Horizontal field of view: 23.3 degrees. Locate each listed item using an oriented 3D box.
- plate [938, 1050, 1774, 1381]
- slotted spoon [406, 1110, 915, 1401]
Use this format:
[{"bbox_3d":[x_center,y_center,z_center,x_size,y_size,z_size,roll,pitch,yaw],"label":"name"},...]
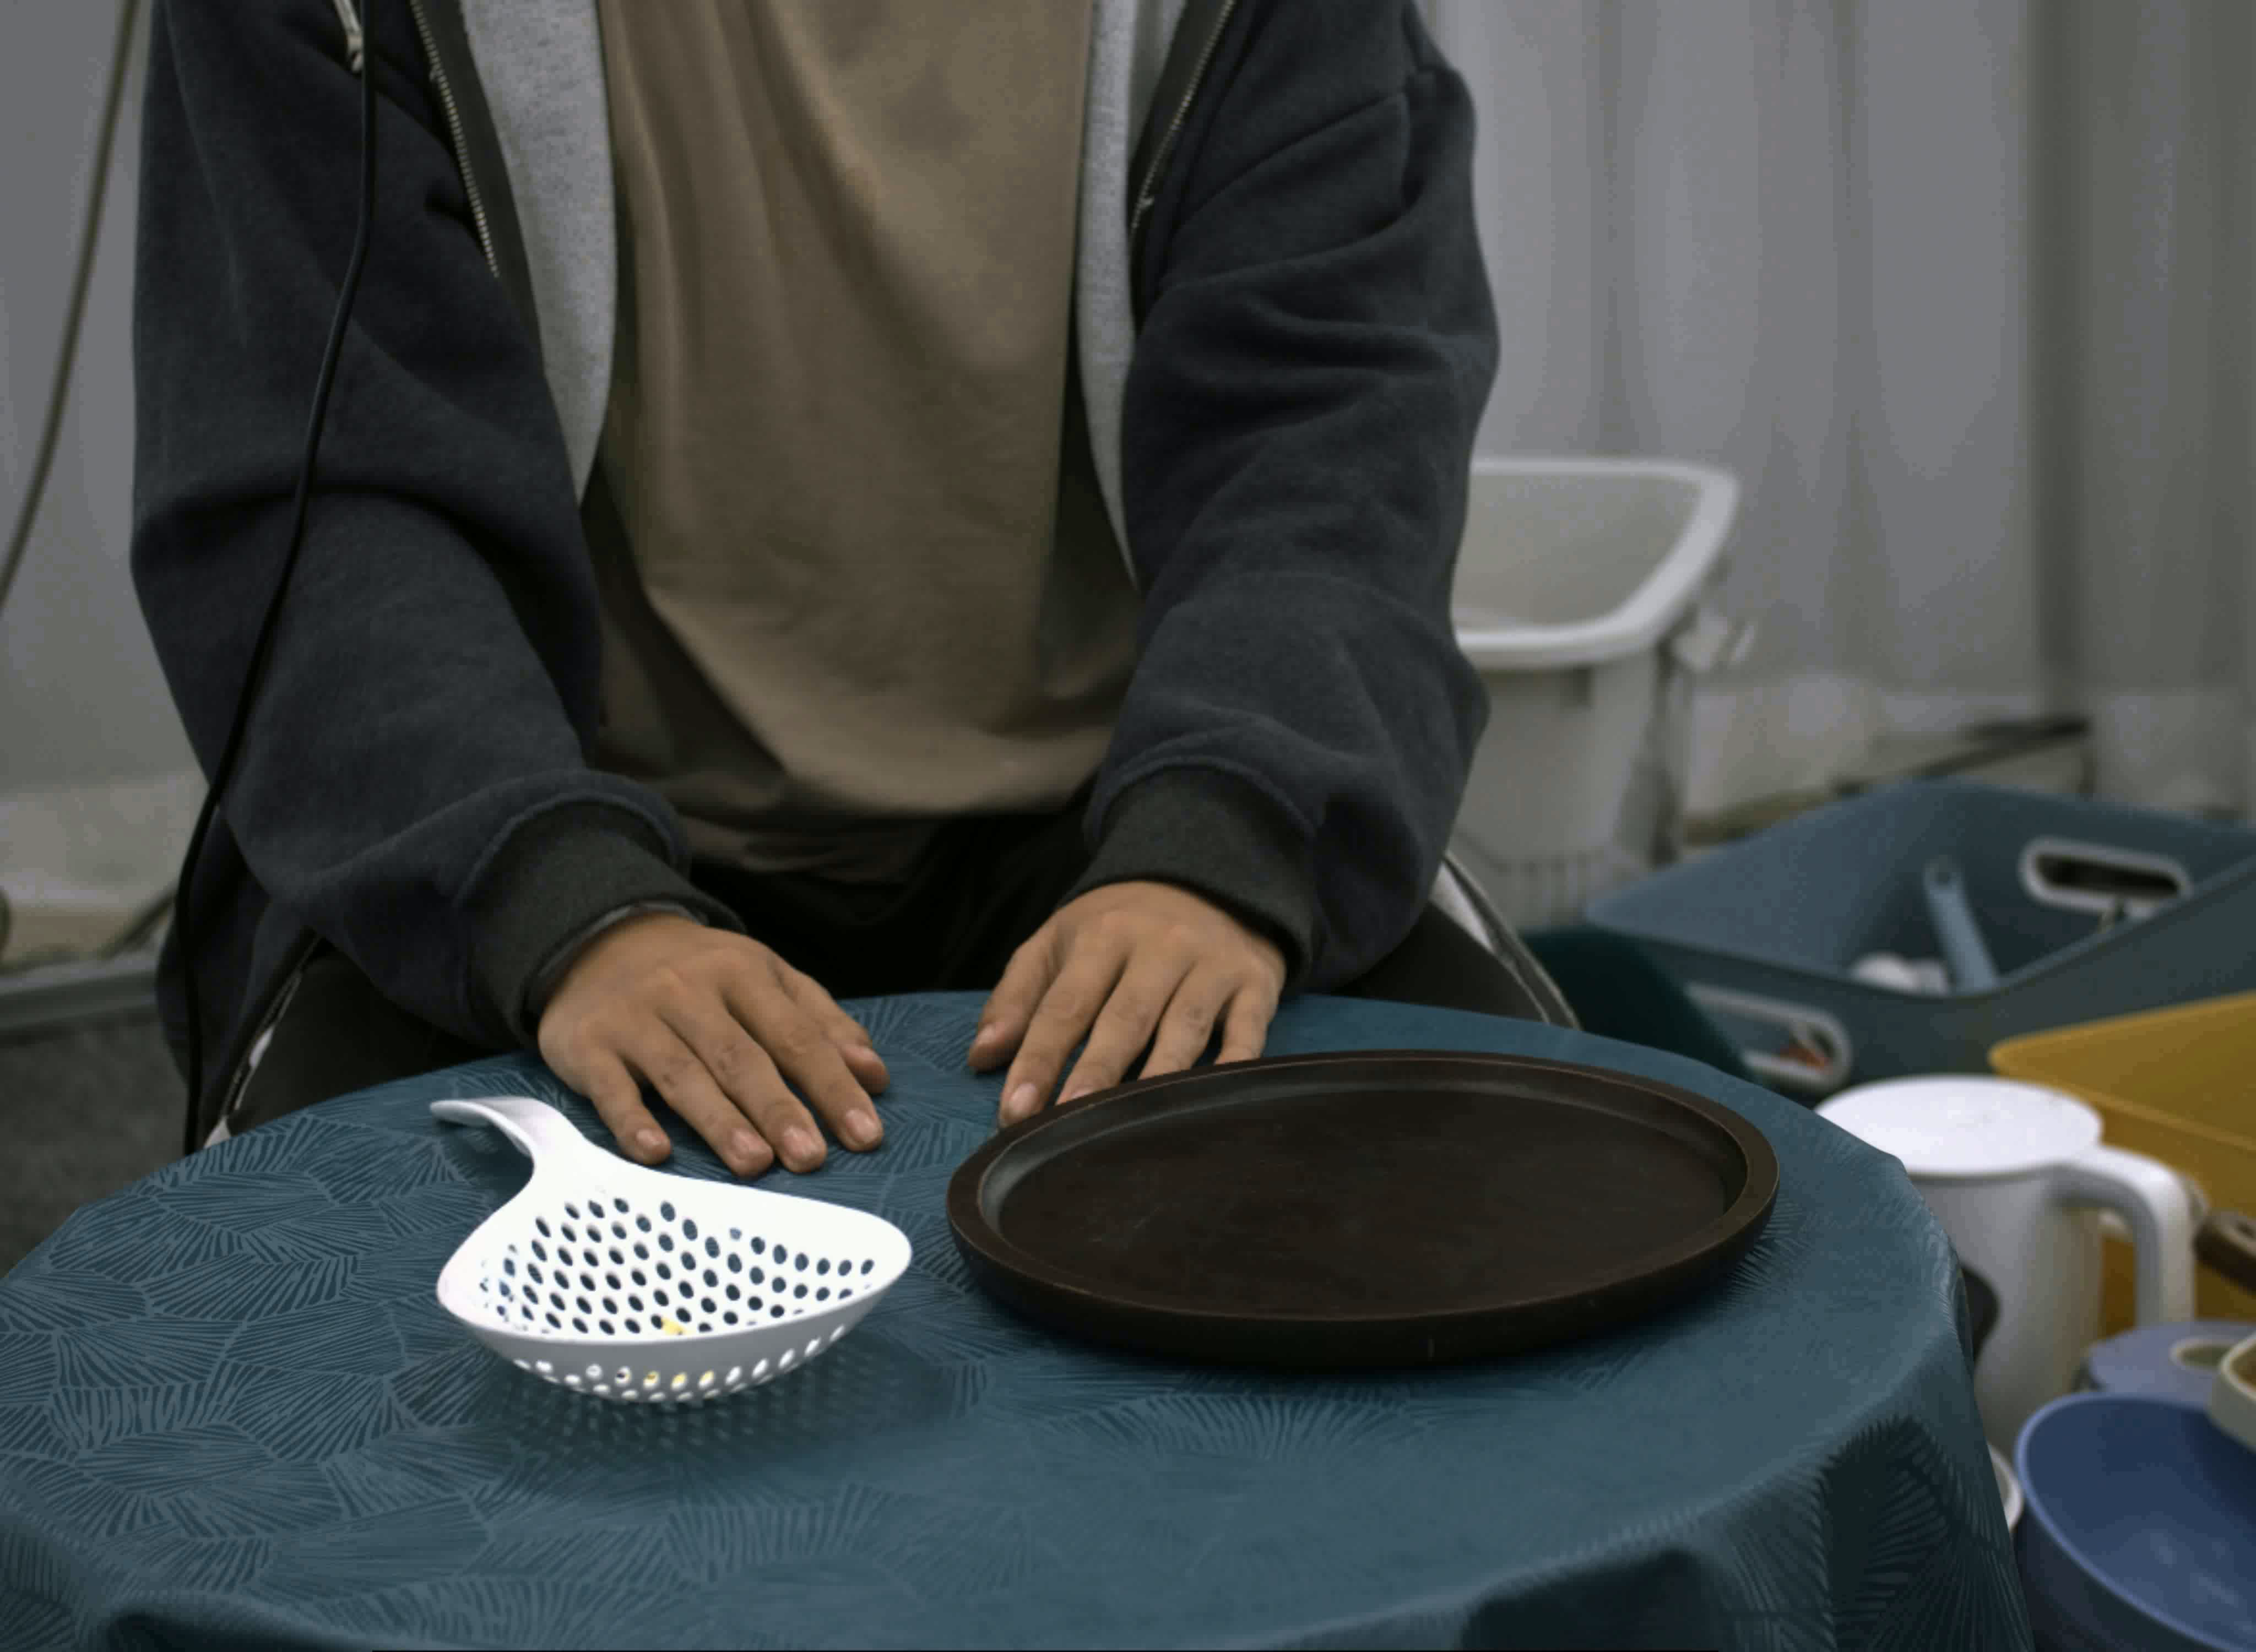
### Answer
[{"bbox_3d":[0.069,0.115,1.655,0.254,0.029,0.256,-4,15,1],"label":"plate"},{"bbox_3d":[-0.167,0.116,1.662,0.136,0.050,0.351,-10,17,-19],"label":"slotted spoon"}]
